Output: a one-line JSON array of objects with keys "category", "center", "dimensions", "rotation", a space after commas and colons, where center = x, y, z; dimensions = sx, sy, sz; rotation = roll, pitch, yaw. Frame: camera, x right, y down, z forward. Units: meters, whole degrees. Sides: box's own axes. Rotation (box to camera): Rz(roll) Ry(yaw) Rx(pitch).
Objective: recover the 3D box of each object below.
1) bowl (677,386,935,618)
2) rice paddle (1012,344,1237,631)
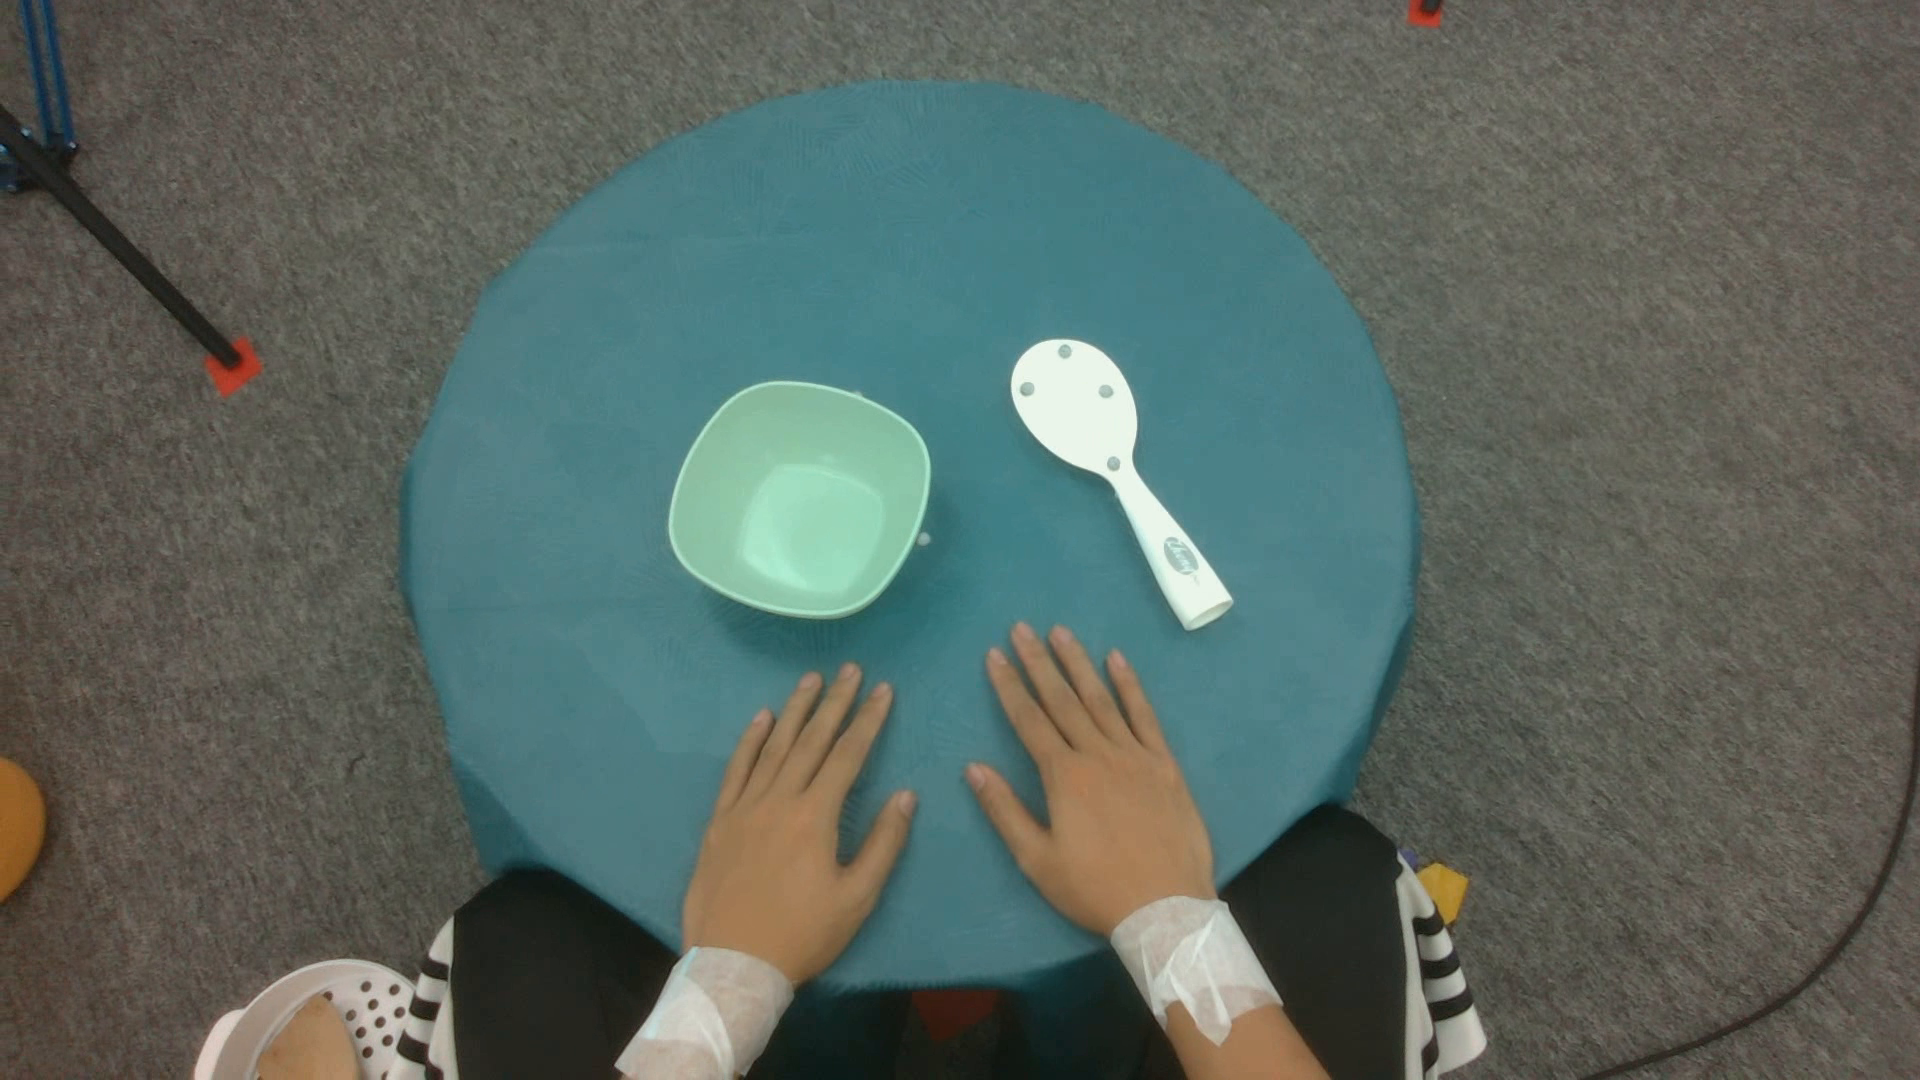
[{"category": "bowl", "center": [-0.086, -0.014, 0.801], "dimensions": [0.151, 0.058, 0.152], "rotation": [0, 64, 0]}, {"category": "rice paddle", "center": [0.097, -0.039, 0.821], "dimensions": [0.069, 0.029, 0.205], "rotation": [-26, 68, -11]}]
